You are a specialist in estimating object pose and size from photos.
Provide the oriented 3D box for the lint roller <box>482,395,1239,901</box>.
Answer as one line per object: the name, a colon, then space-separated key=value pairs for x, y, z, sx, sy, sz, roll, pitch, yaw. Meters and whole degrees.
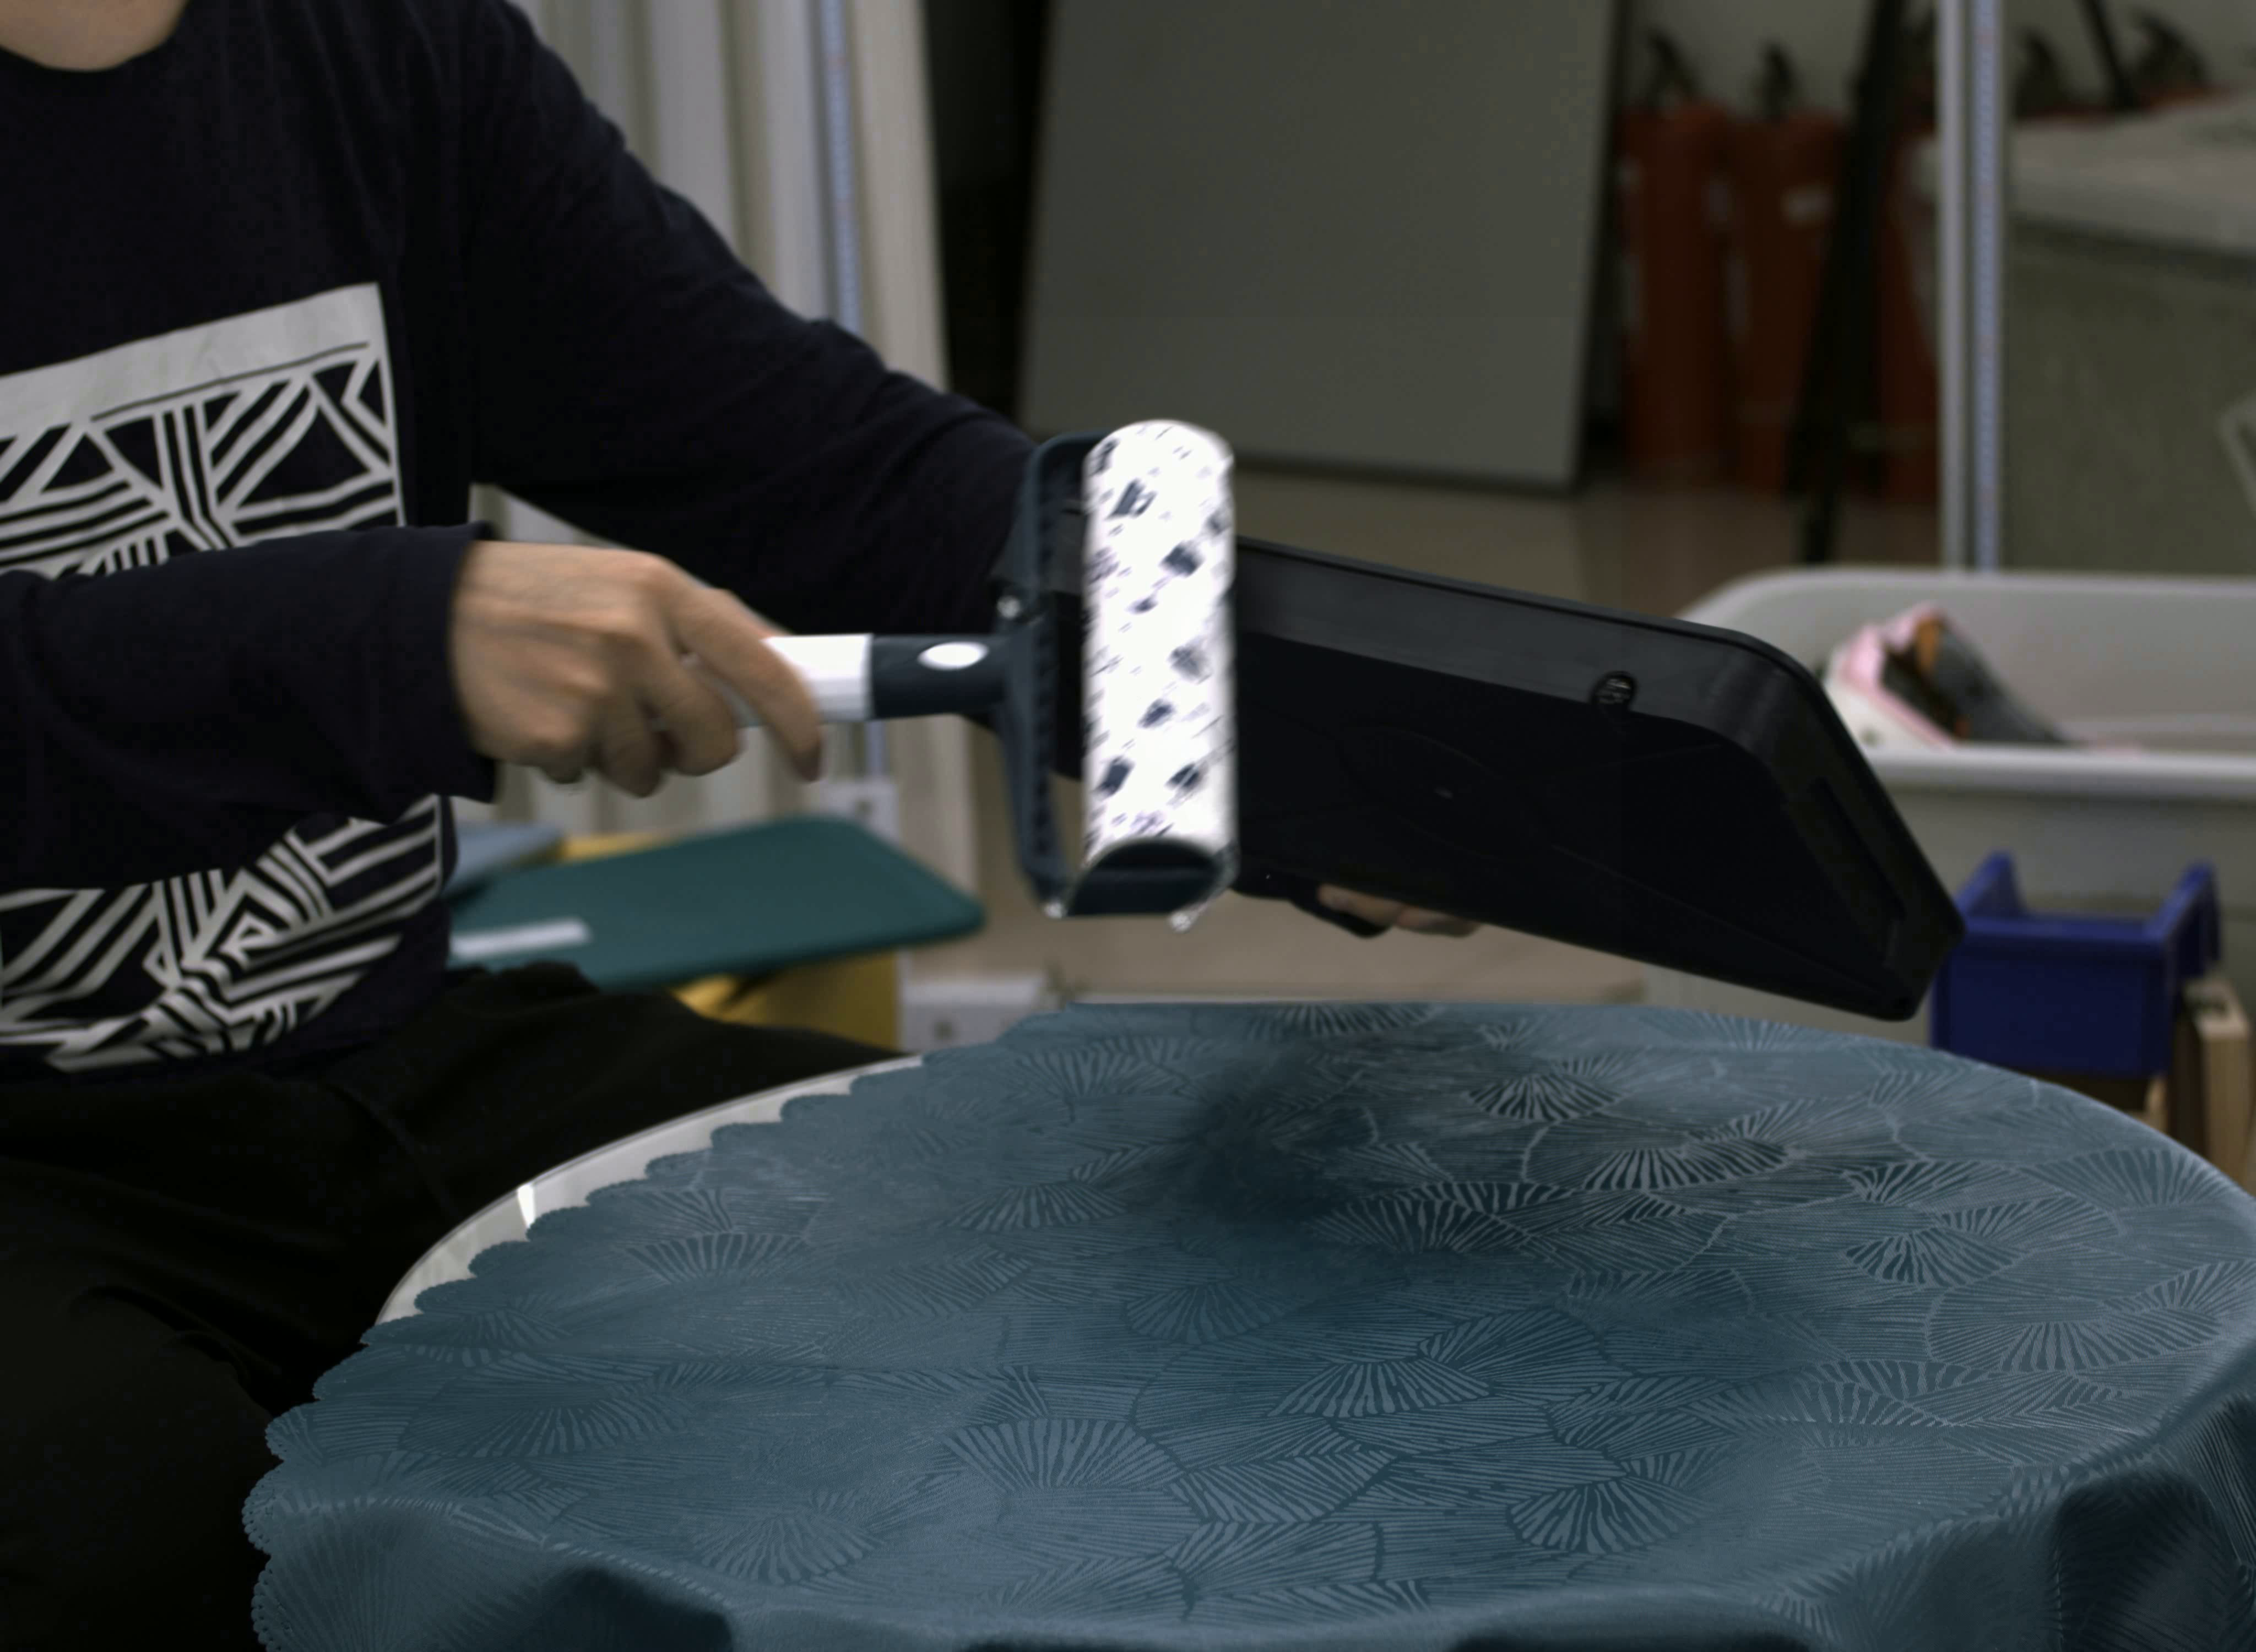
lint roller: x=-0.086 y=-0.050 z=1.712 sx=0.245 sy=0.050 sz=0.178 roll=-5 pitch=56 yaw=6

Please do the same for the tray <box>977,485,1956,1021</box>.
tray: x=0.107 y=-0.025 z=1.772 sx=0.320 sy=0.182 sz=0.037 roll=13 pitch=63 yaw=39
